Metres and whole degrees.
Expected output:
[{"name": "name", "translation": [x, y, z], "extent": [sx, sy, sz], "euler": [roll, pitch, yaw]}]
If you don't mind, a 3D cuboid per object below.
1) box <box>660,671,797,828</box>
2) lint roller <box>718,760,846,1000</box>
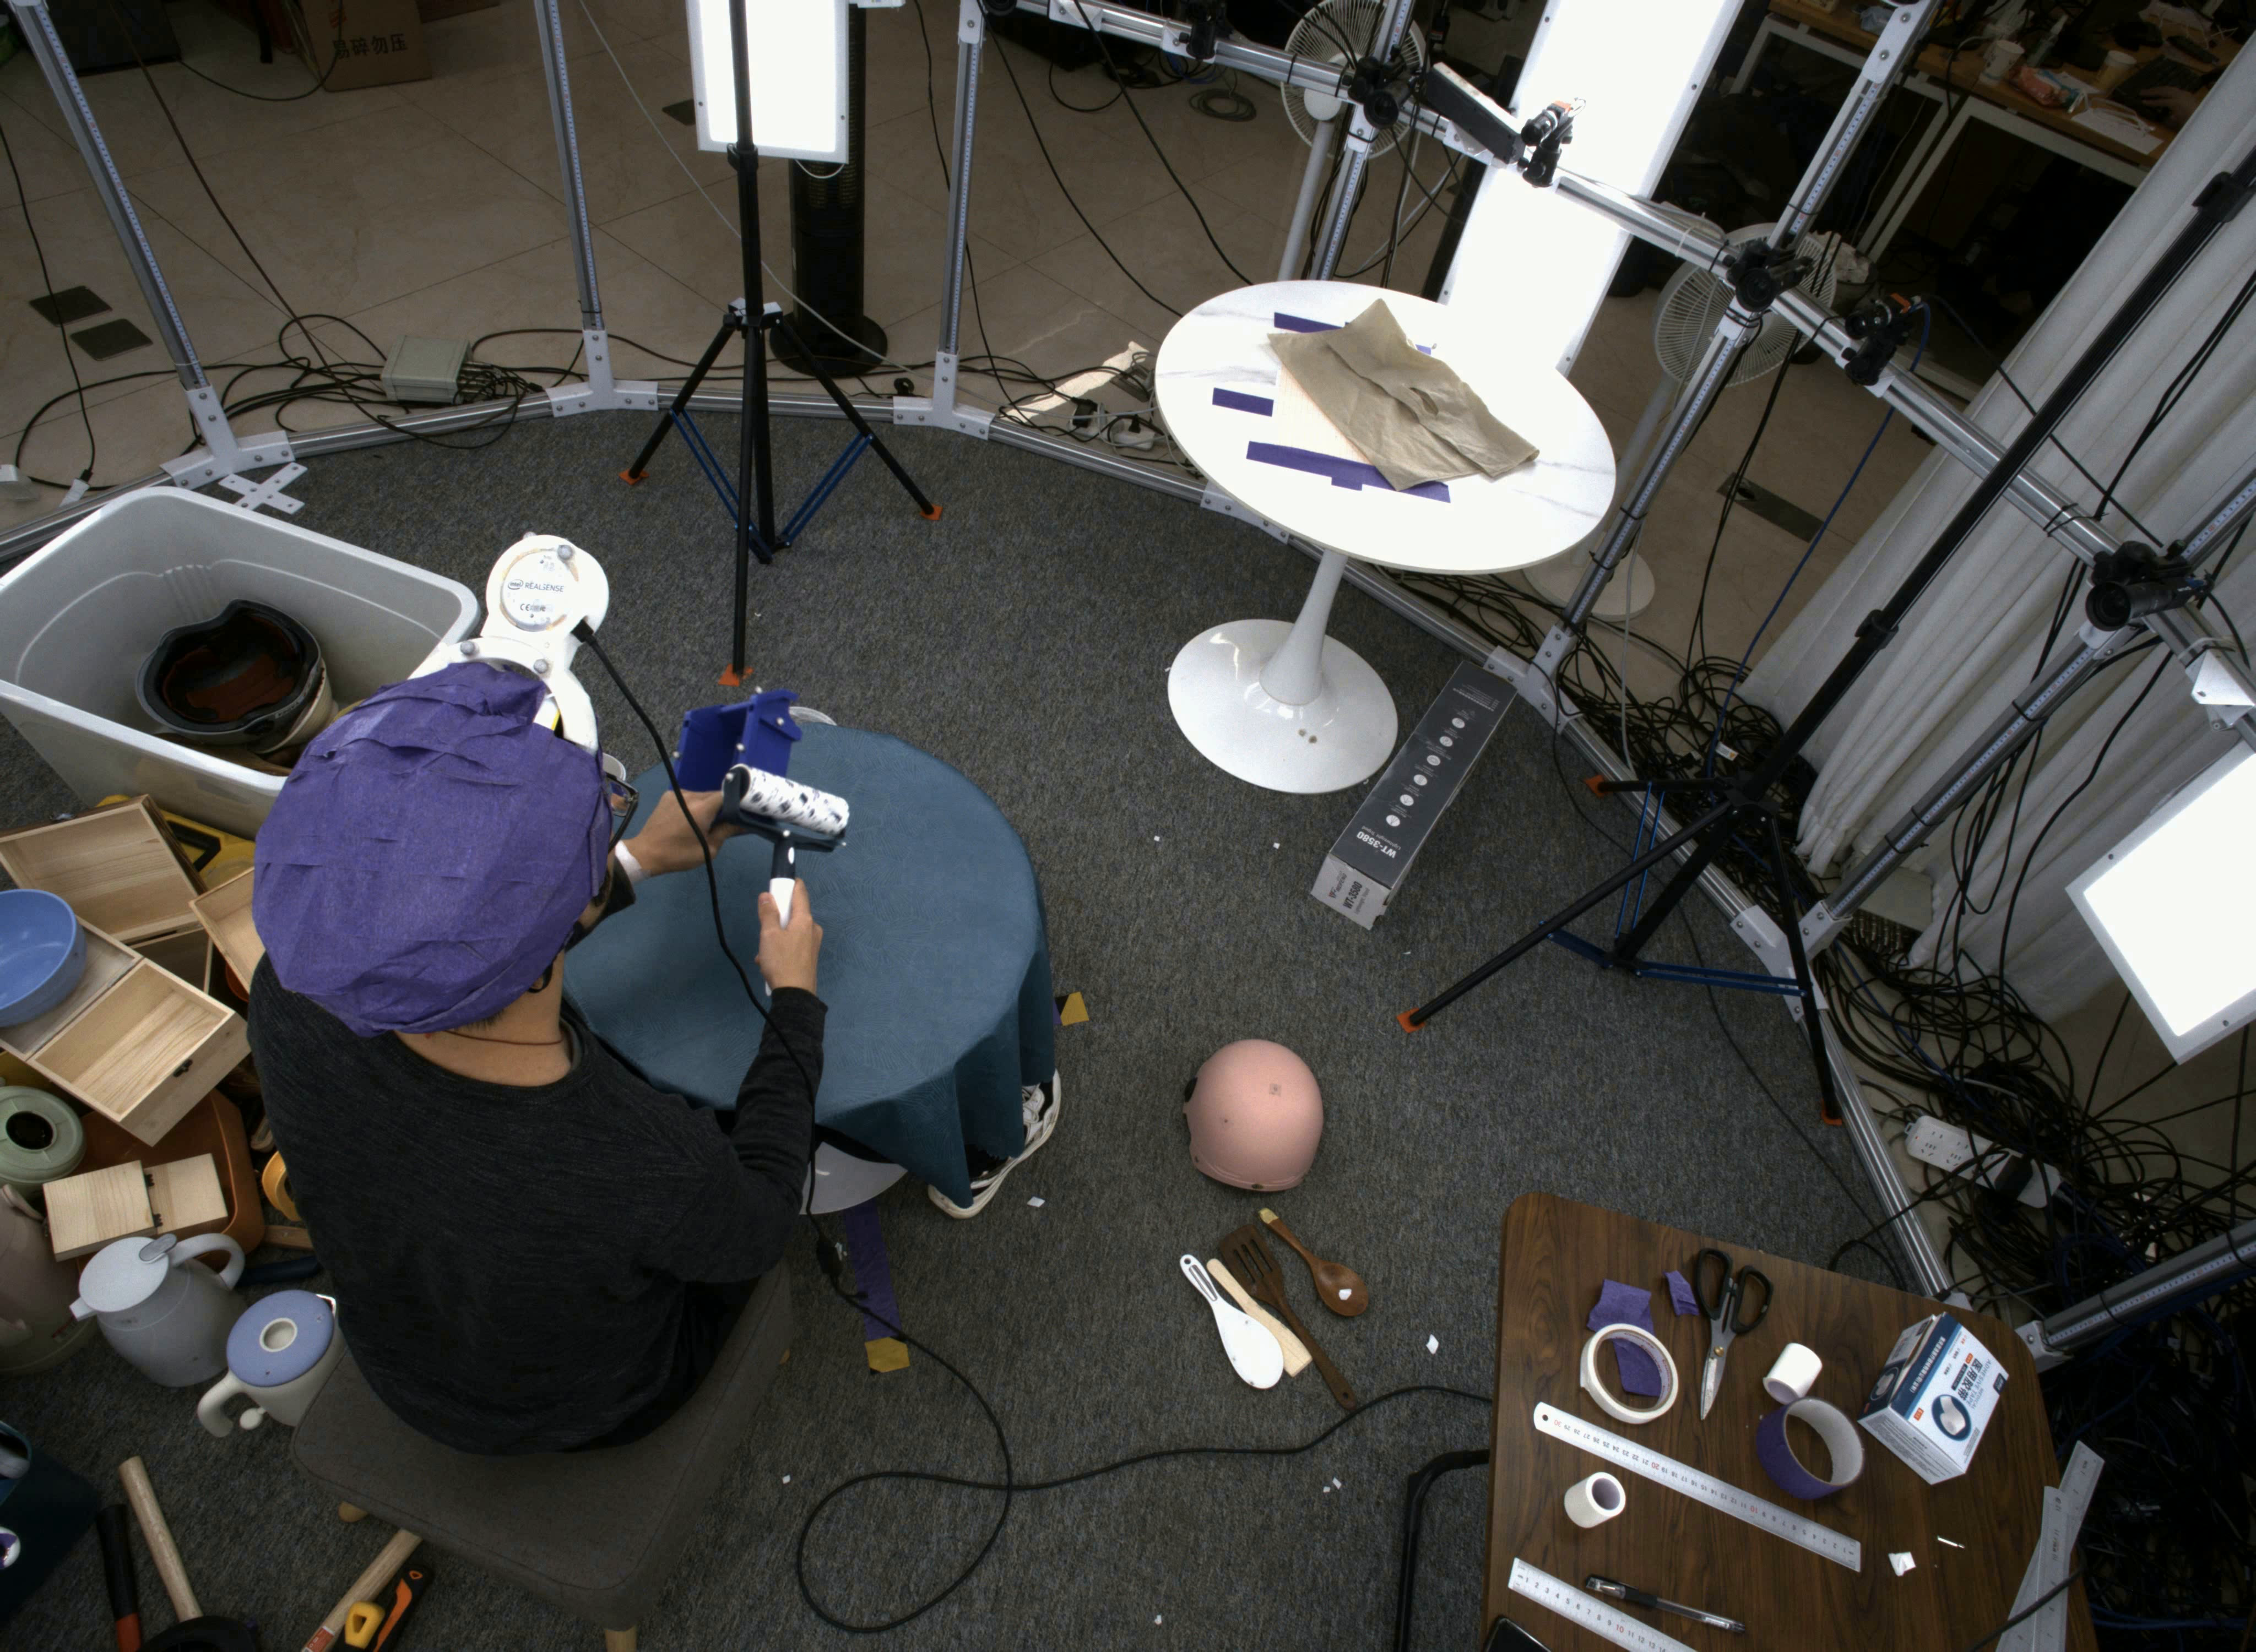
[{"name": "box", "translation": [-0.467, -0.092, 1.516], "extent": [0.121, 0.084, 0.178], "euler": [-9, 68, 28]}, {"name": "lint roller", "translation": [-0.384, 0.066, 1.443], "extent": [0.049, 0.181, 0.246], "euler": [-10, 74, 27]}]
